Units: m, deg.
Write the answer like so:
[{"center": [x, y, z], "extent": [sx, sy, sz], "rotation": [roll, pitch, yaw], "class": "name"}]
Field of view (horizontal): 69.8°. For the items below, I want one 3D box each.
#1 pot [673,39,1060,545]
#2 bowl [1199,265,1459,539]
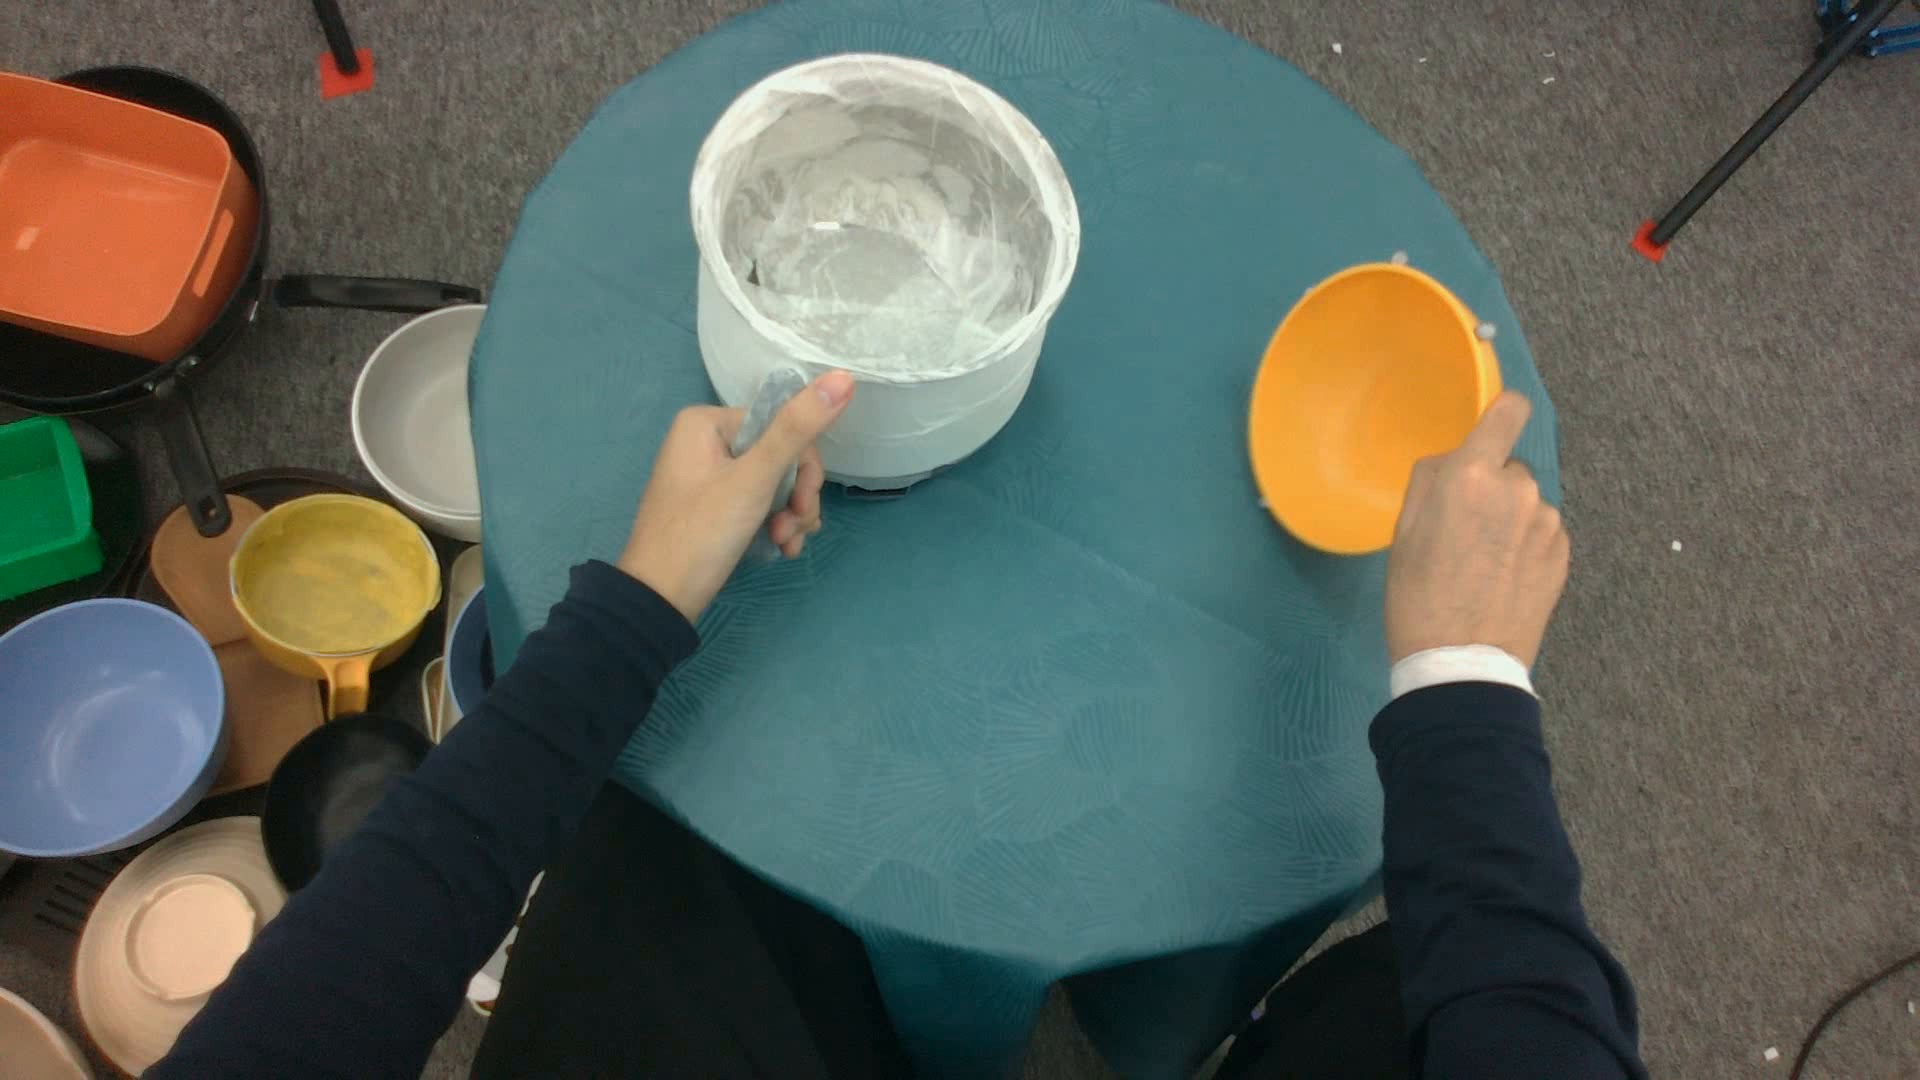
[{"center": [-0.060, -0.112, 0.672], "extent": [0.179, 0.136, 0.234], "rotation": [24, 64, 3], "class": "pot"}, {"center": [0.199, -0.064, 0.713], "extent": [0.060, 0.144, 0.146], "rotation": [18, 59, -42], "class": "bowl"}]
